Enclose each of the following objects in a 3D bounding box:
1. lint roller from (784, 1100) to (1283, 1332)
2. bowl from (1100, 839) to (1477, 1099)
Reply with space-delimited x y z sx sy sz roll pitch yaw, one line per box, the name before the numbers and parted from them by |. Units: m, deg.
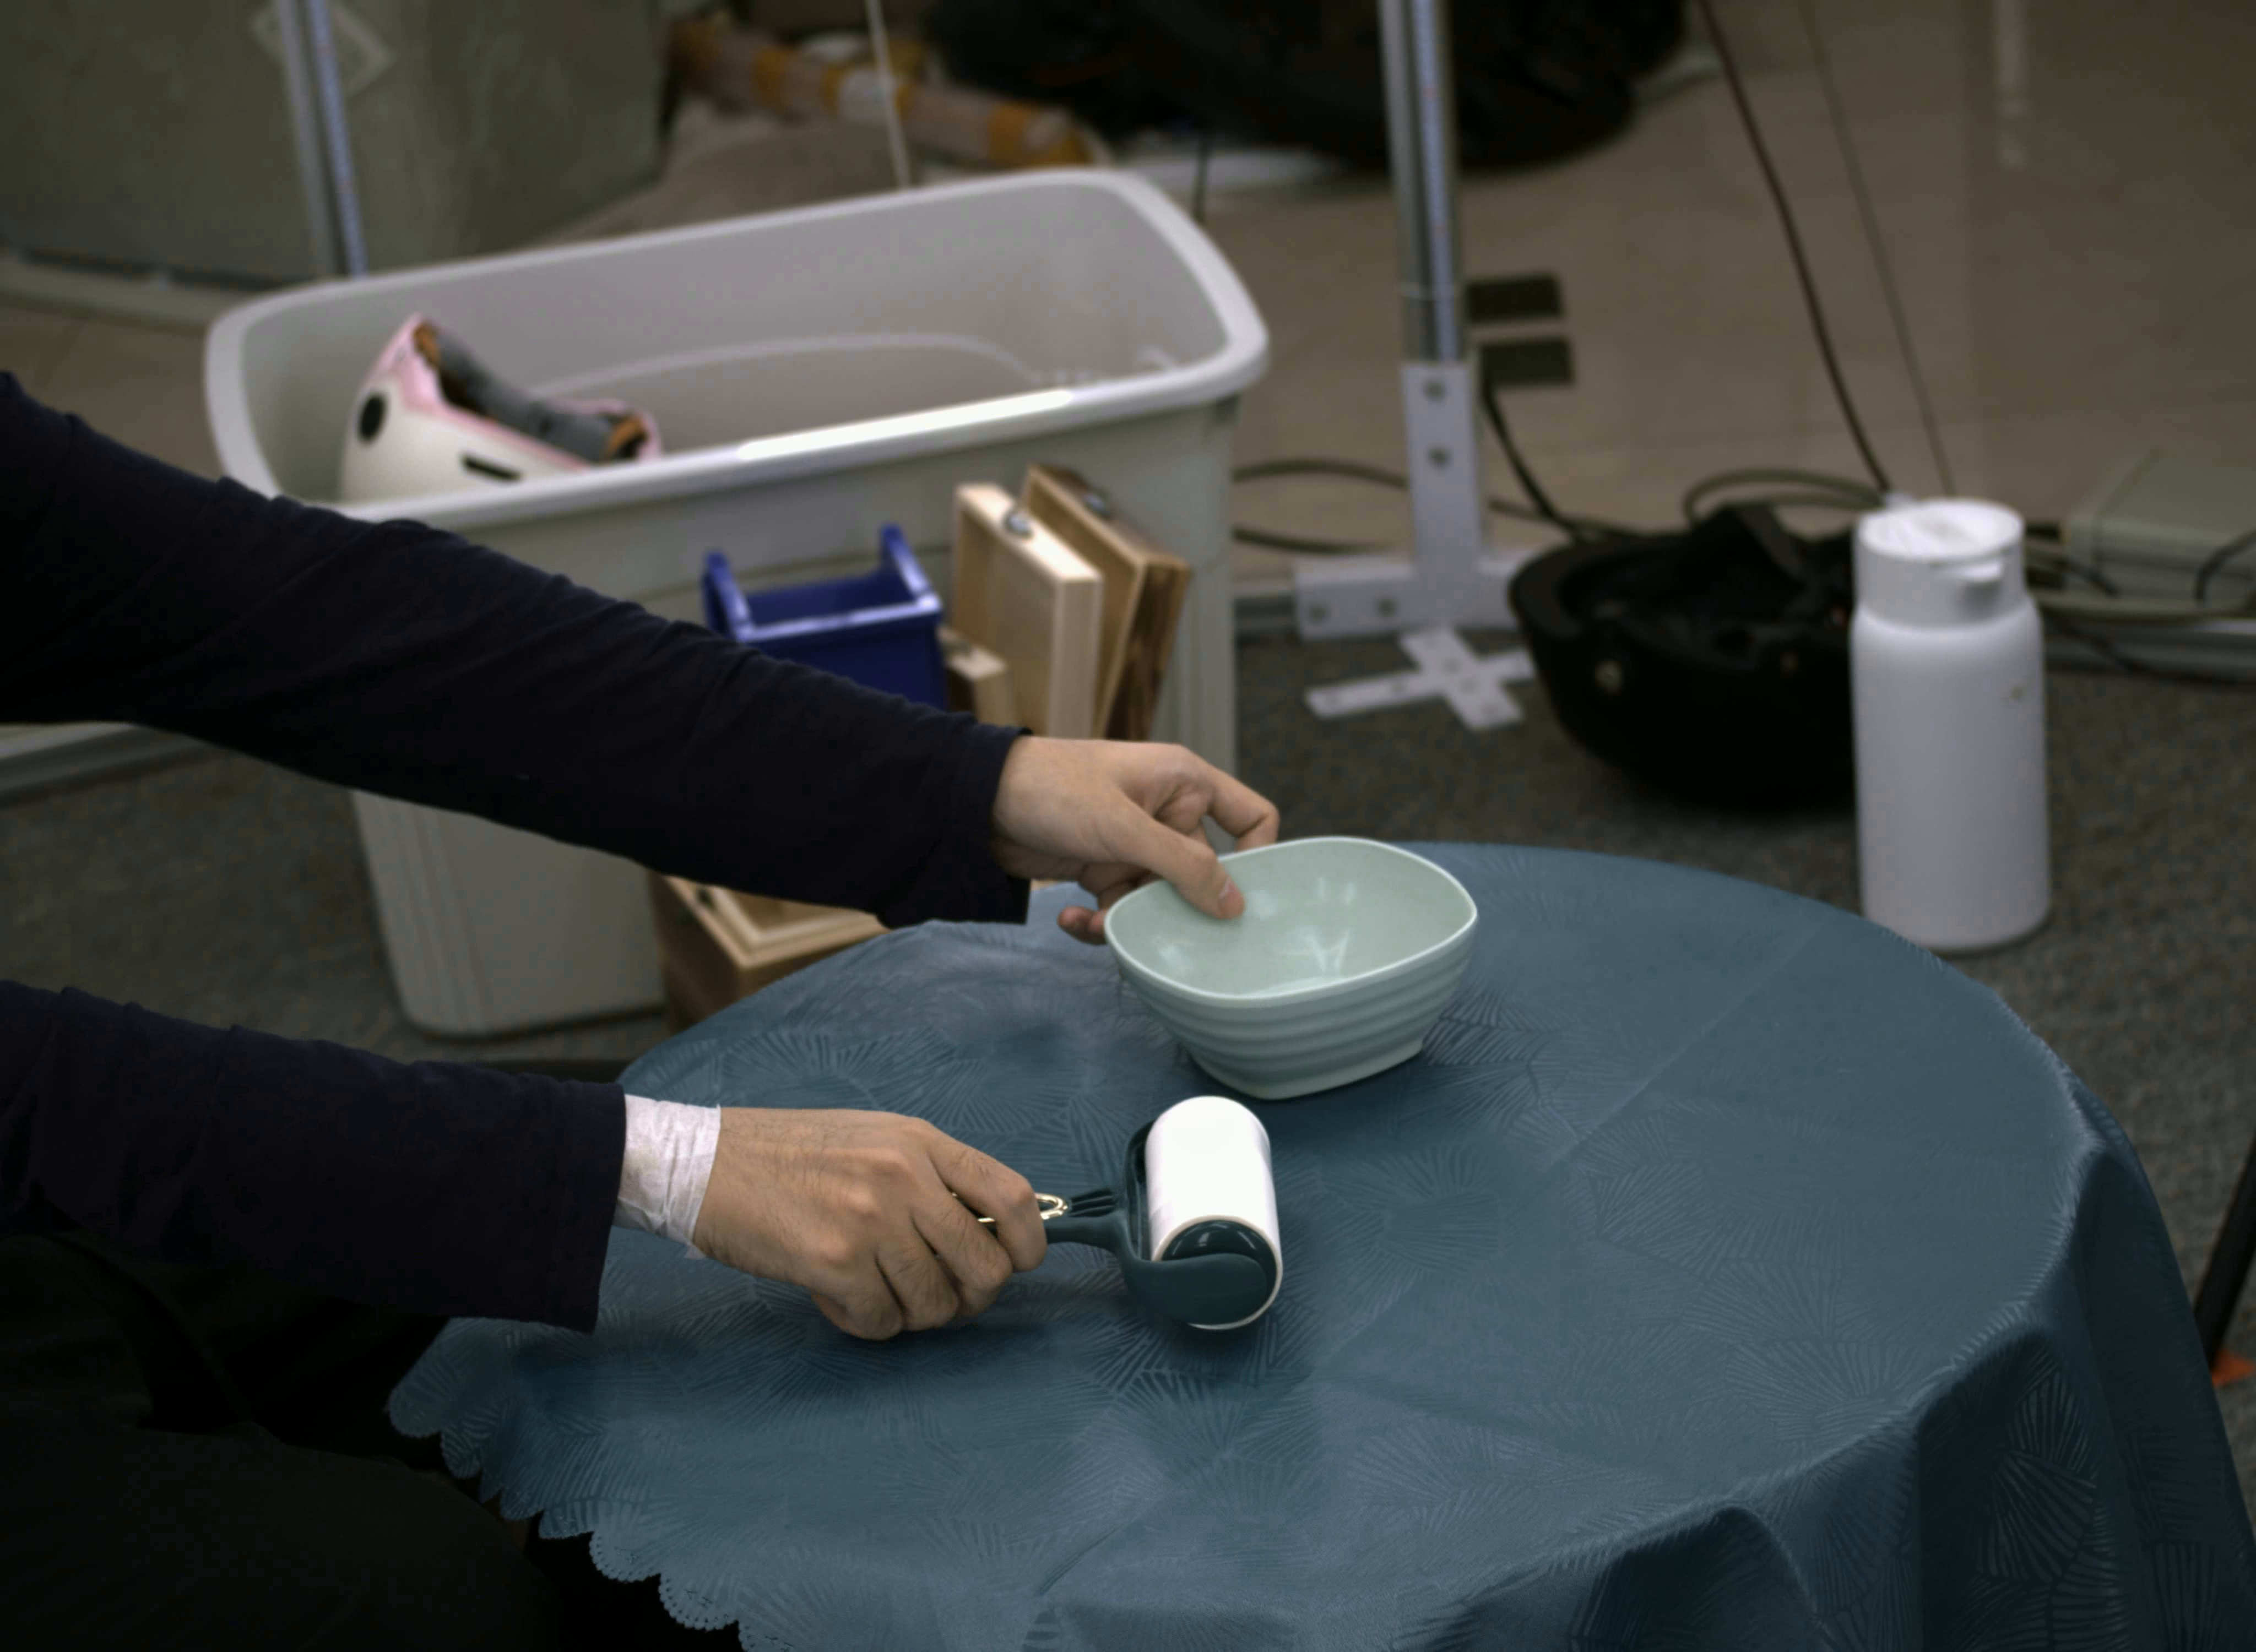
lint roller | -0.036 0.140 2.070 0.180 0.049 0.132 1 23 -2
bowl | 0.064 0.061 2.234 0.151 0.059 0.149 -3 24 1
